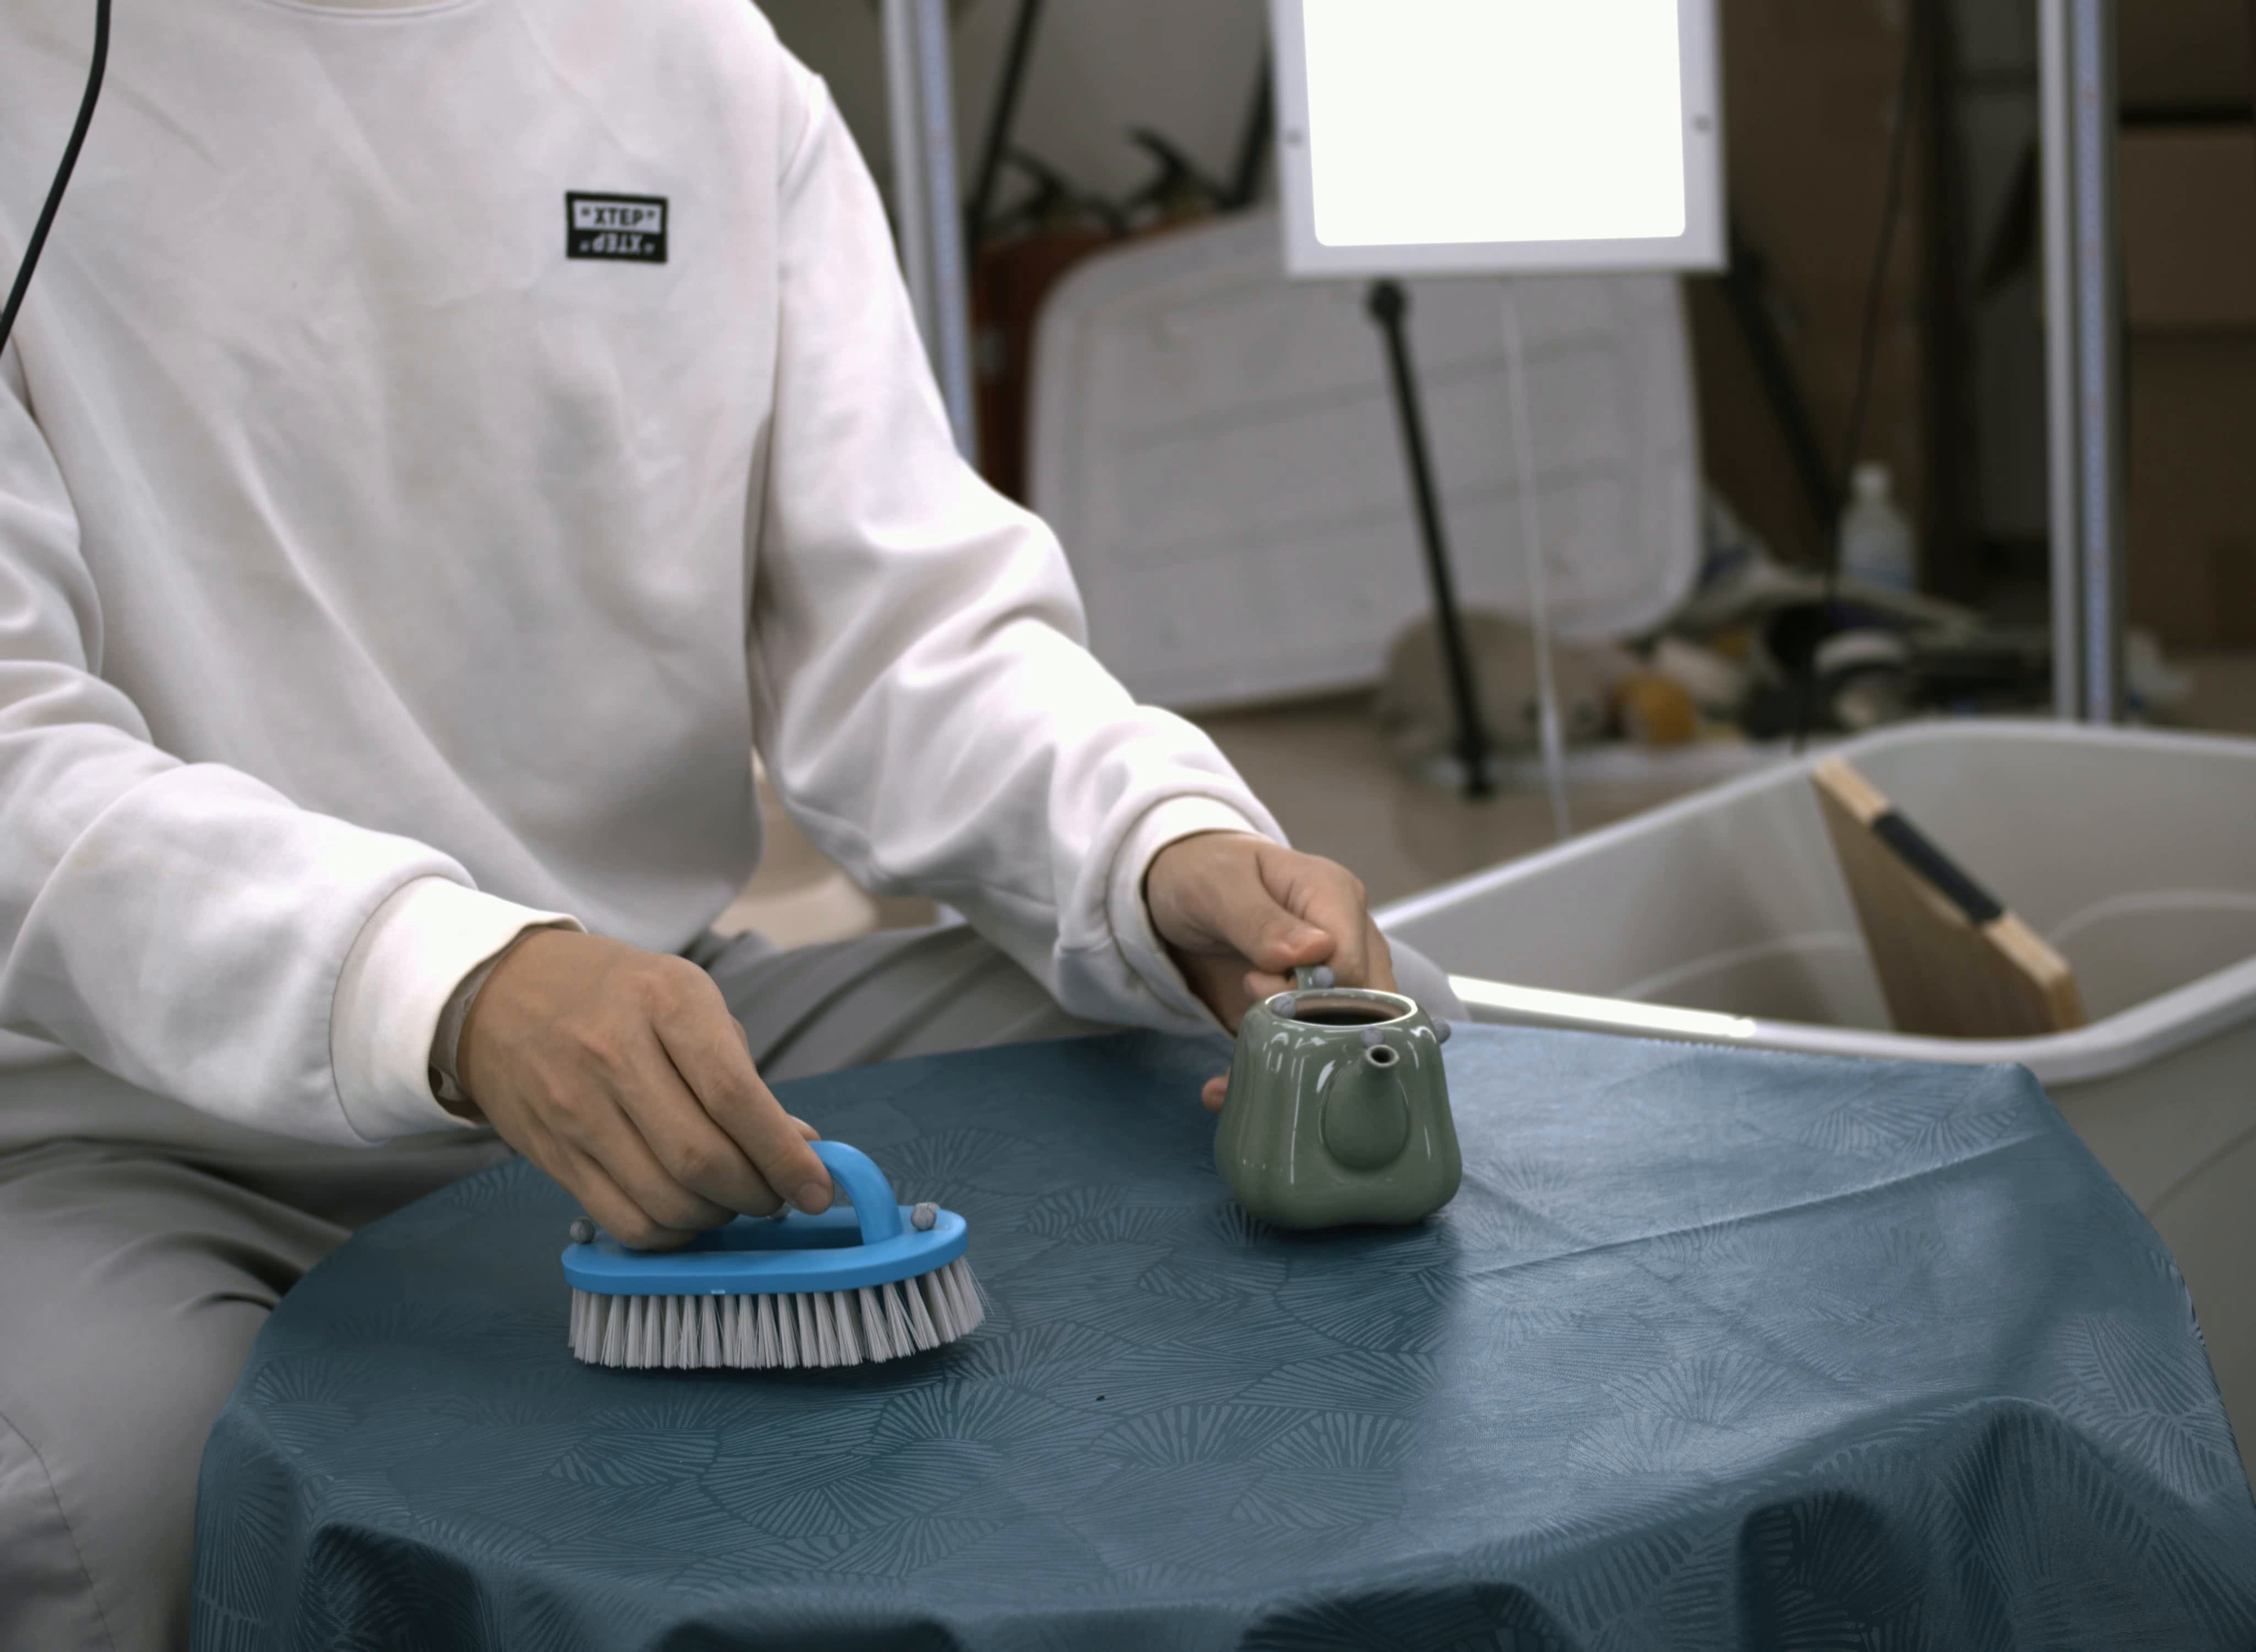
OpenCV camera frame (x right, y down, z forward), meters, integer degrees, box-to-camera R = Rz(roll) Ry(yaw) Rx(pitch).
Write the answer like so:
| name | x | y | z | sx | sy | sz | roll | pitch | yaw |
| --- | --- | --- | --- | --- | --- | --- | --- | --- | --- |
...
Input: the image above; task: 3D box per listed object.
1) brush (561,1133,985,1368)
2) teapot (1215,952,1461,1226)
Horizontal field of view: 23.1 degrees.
| name | x | y | z | sx | sy | sz | roll | pitch | yaw |
| --- | --- | --- | --- | --- | --- | --- | --- | --- | --- |
| brush | -0.118 | 0.130 | 1.764 | 0.144 | 0.064 | 0.083 | -4 | 16 | 26 |
| teapot | 0.071 | 0.091 | 1.849 | 0.079 | 0.075 | 0.133 | -1 | 13 | -9 |
